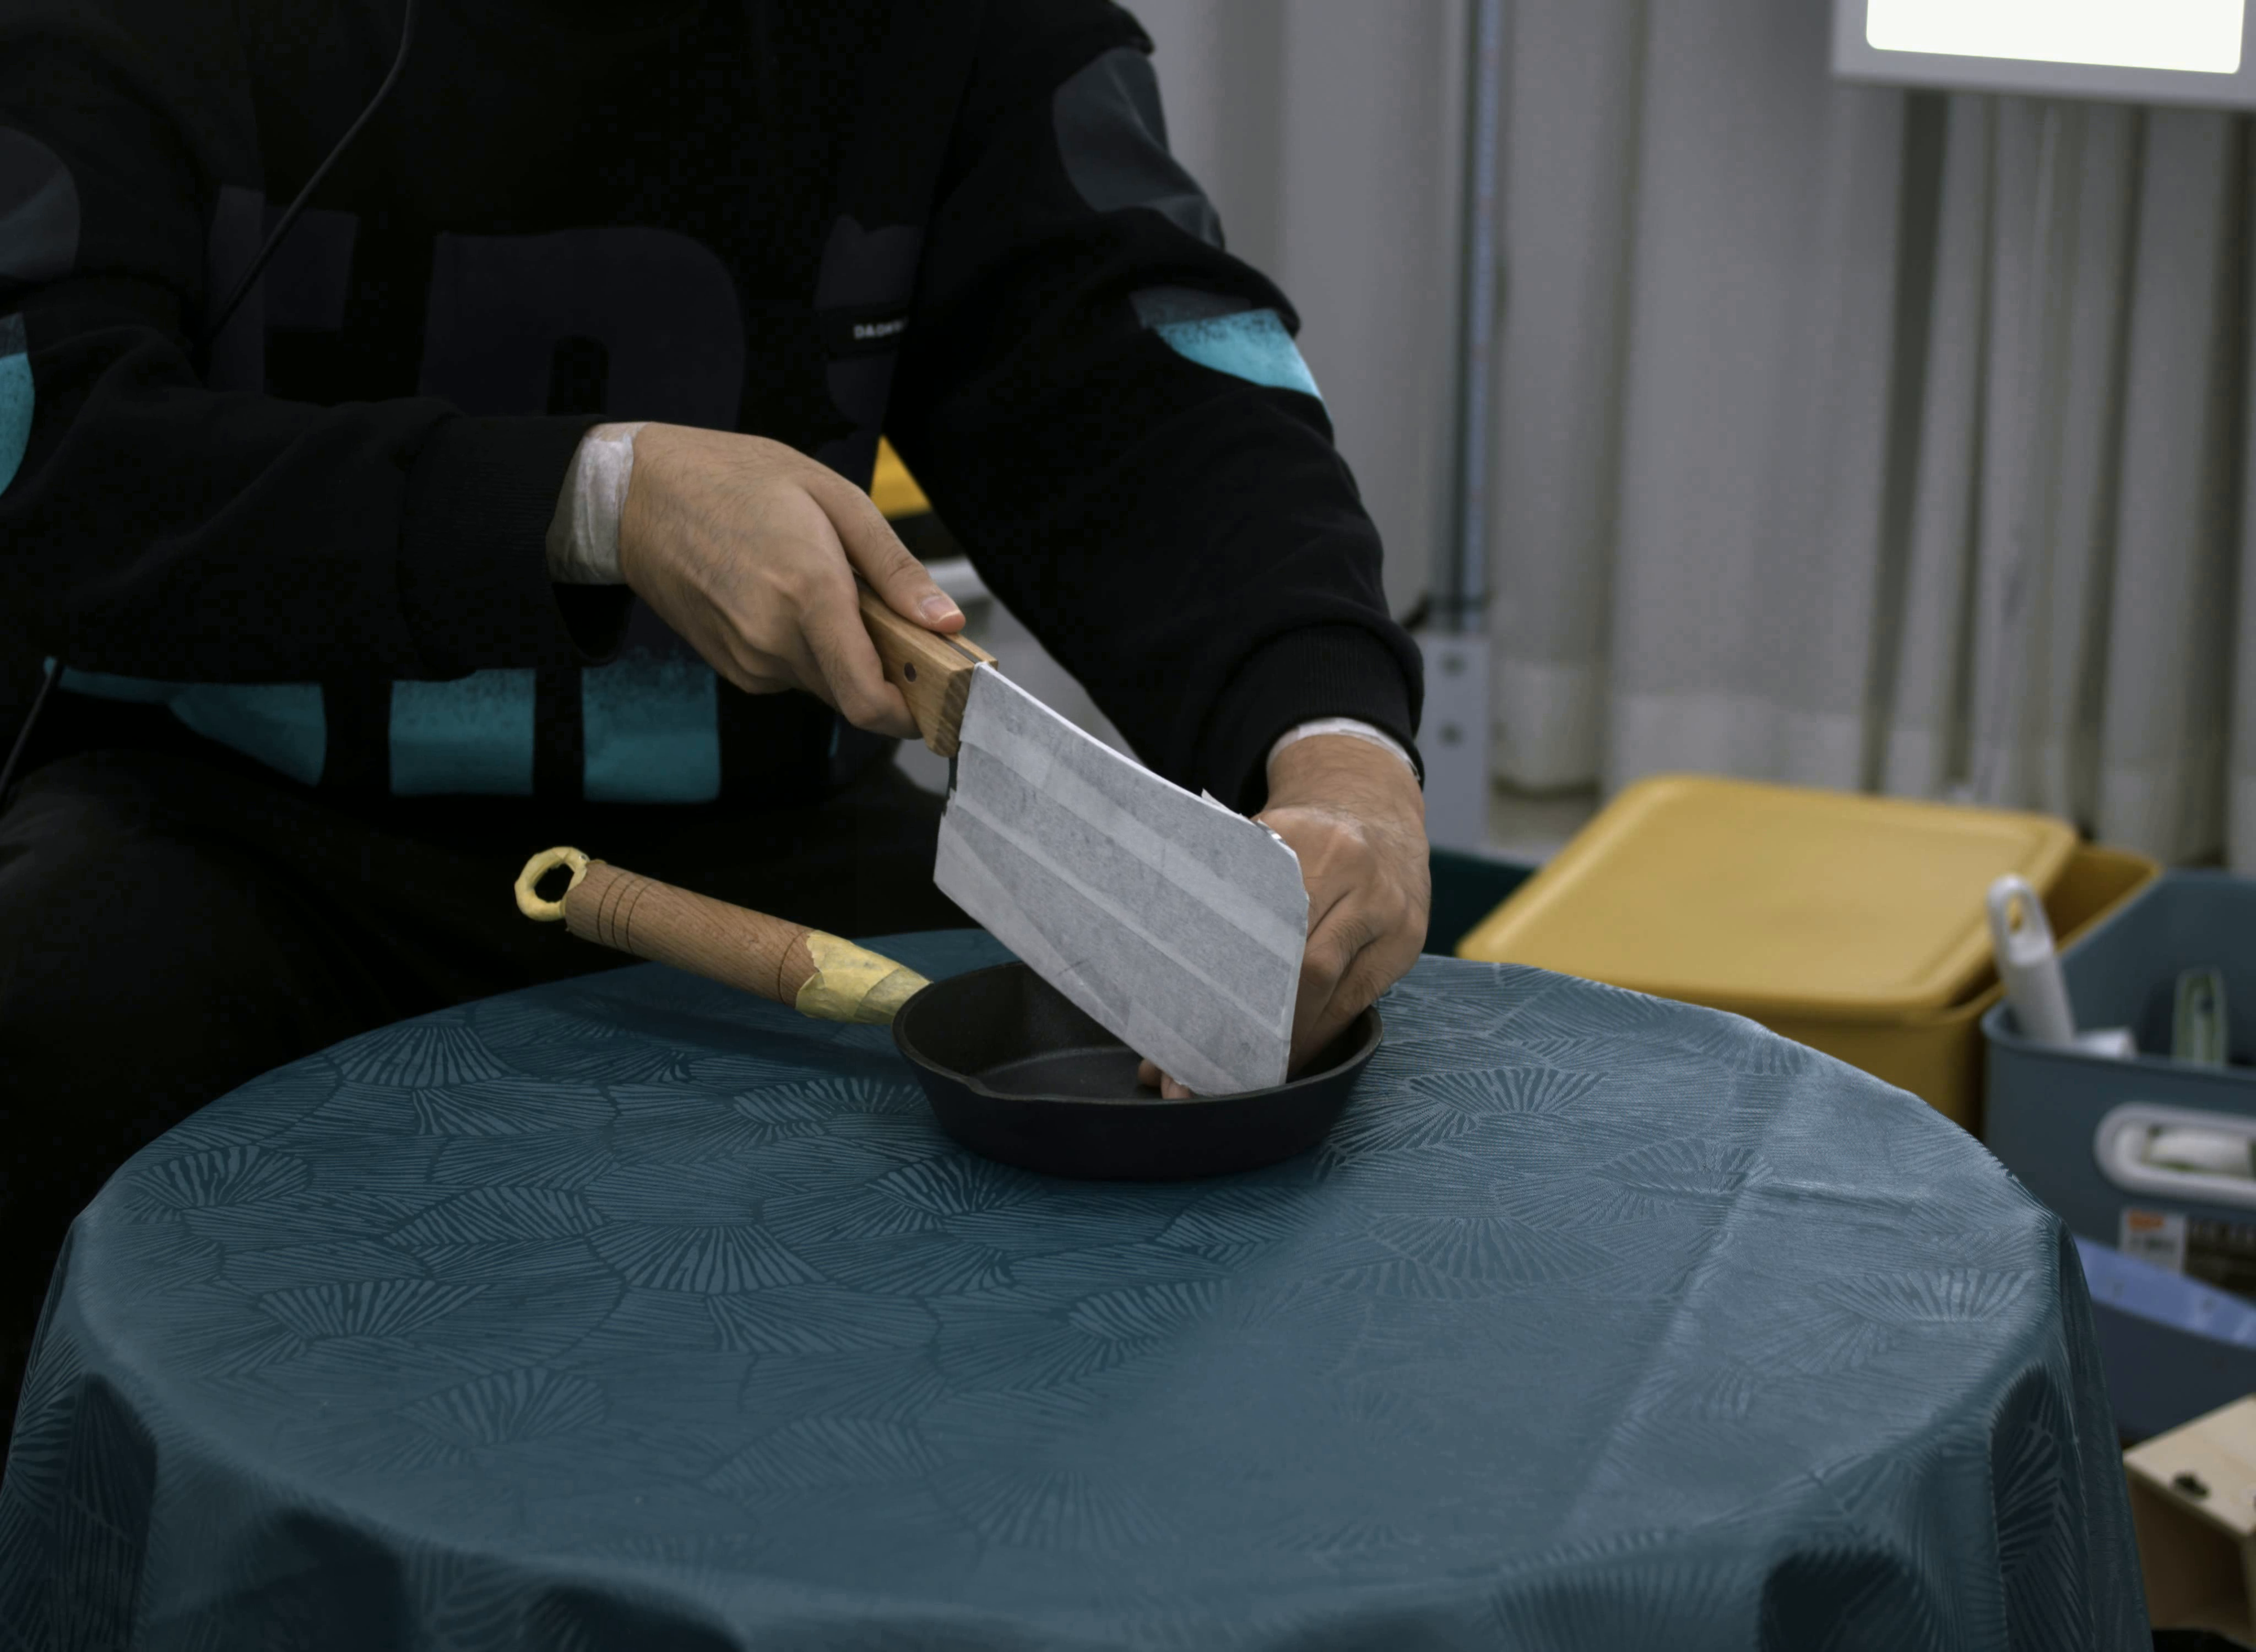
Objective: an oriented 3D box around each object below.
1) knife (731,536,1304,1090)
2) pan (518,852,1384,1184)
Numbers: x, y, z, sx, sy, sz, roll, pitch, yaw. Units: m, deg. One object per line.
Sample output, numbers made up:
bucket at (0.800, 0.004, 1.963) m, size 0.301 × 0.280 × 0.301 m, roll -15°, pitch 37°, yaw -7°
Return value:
knife at (-0.038, -0.014, 1.726) m, size 0.022 × 0.115 × 0.311 m, roll -12°, pitch 37°, yaw -37°
pan at (-0.068, 0.058, 1.723) m, size 0.320 × 0.050 × 0.169 m, roll 11°, pitch 19°, yaw 30°
